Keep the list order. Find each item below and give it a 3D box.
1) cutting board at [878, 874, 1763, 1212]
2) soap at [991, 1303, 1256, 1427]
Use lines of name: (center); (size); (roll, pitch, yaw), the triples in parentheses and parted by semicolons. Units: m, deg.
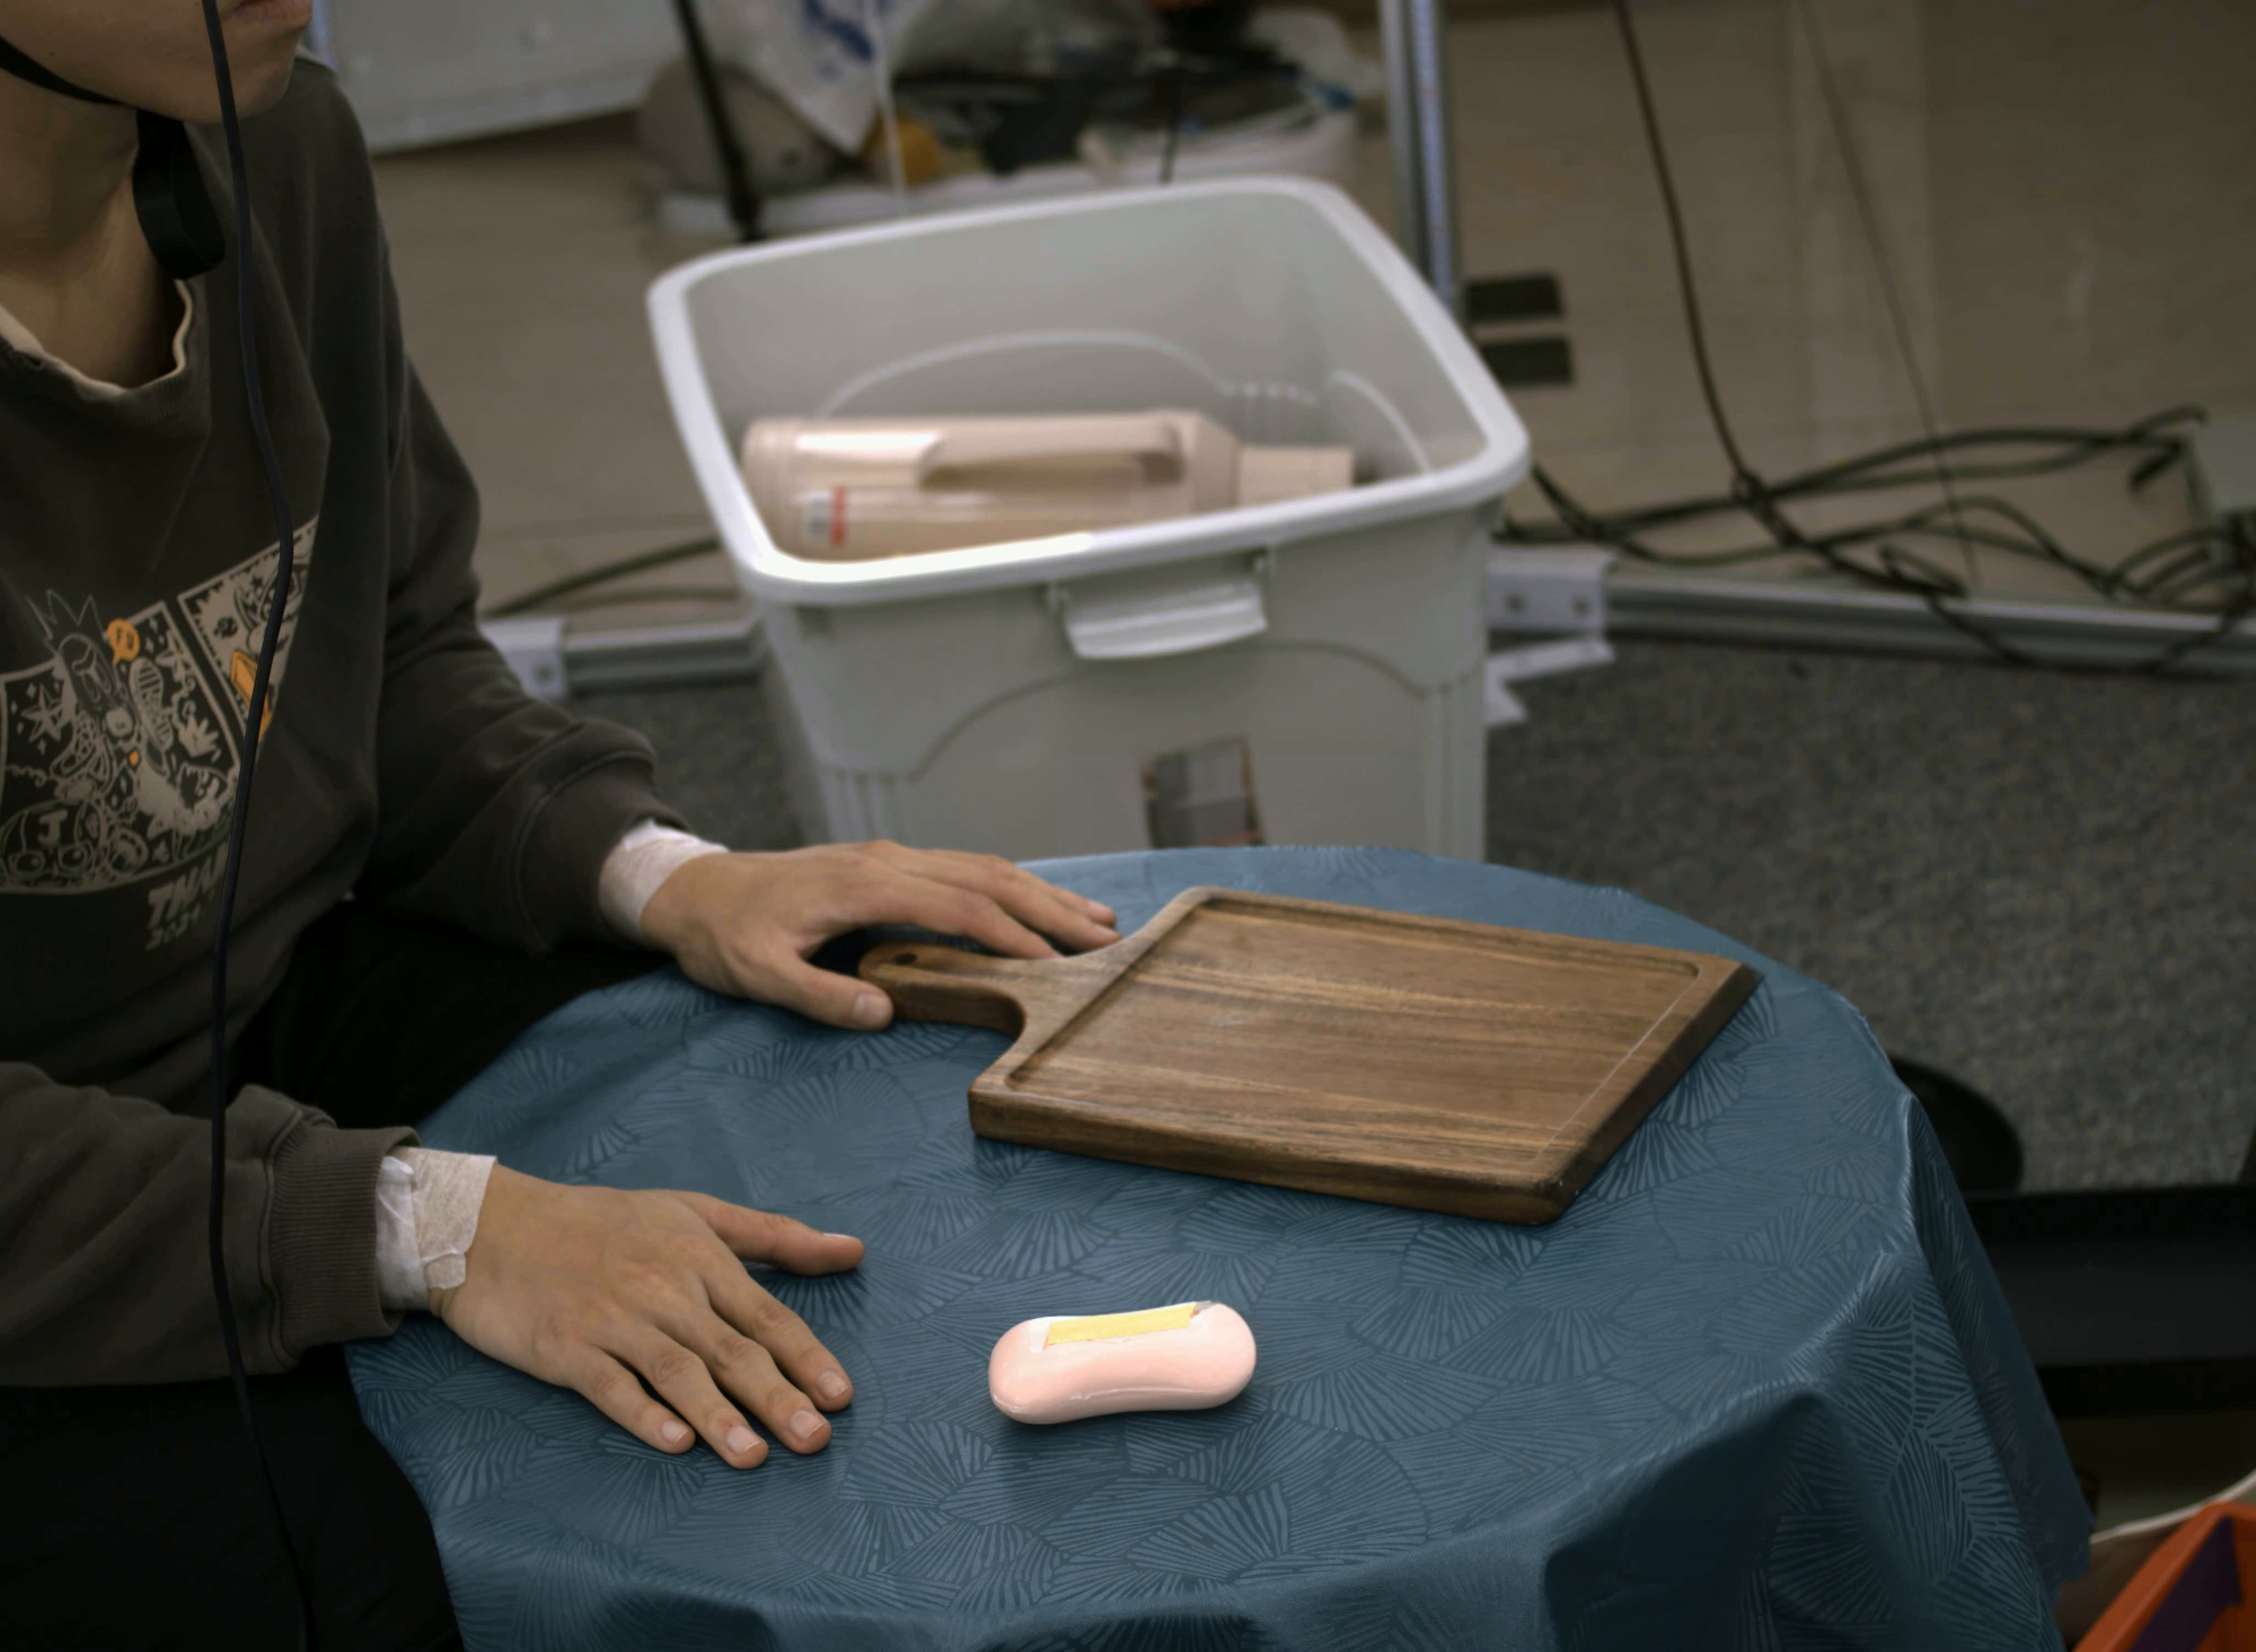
cutting board: (0.055, 0.075, 2.244); (0.350, 0.023, 0.198); (8, 29, 29)
soap: (-0.002, 0.190, 2.004); (0.094, 0.031, 0.049); (-7, 25, 3)
